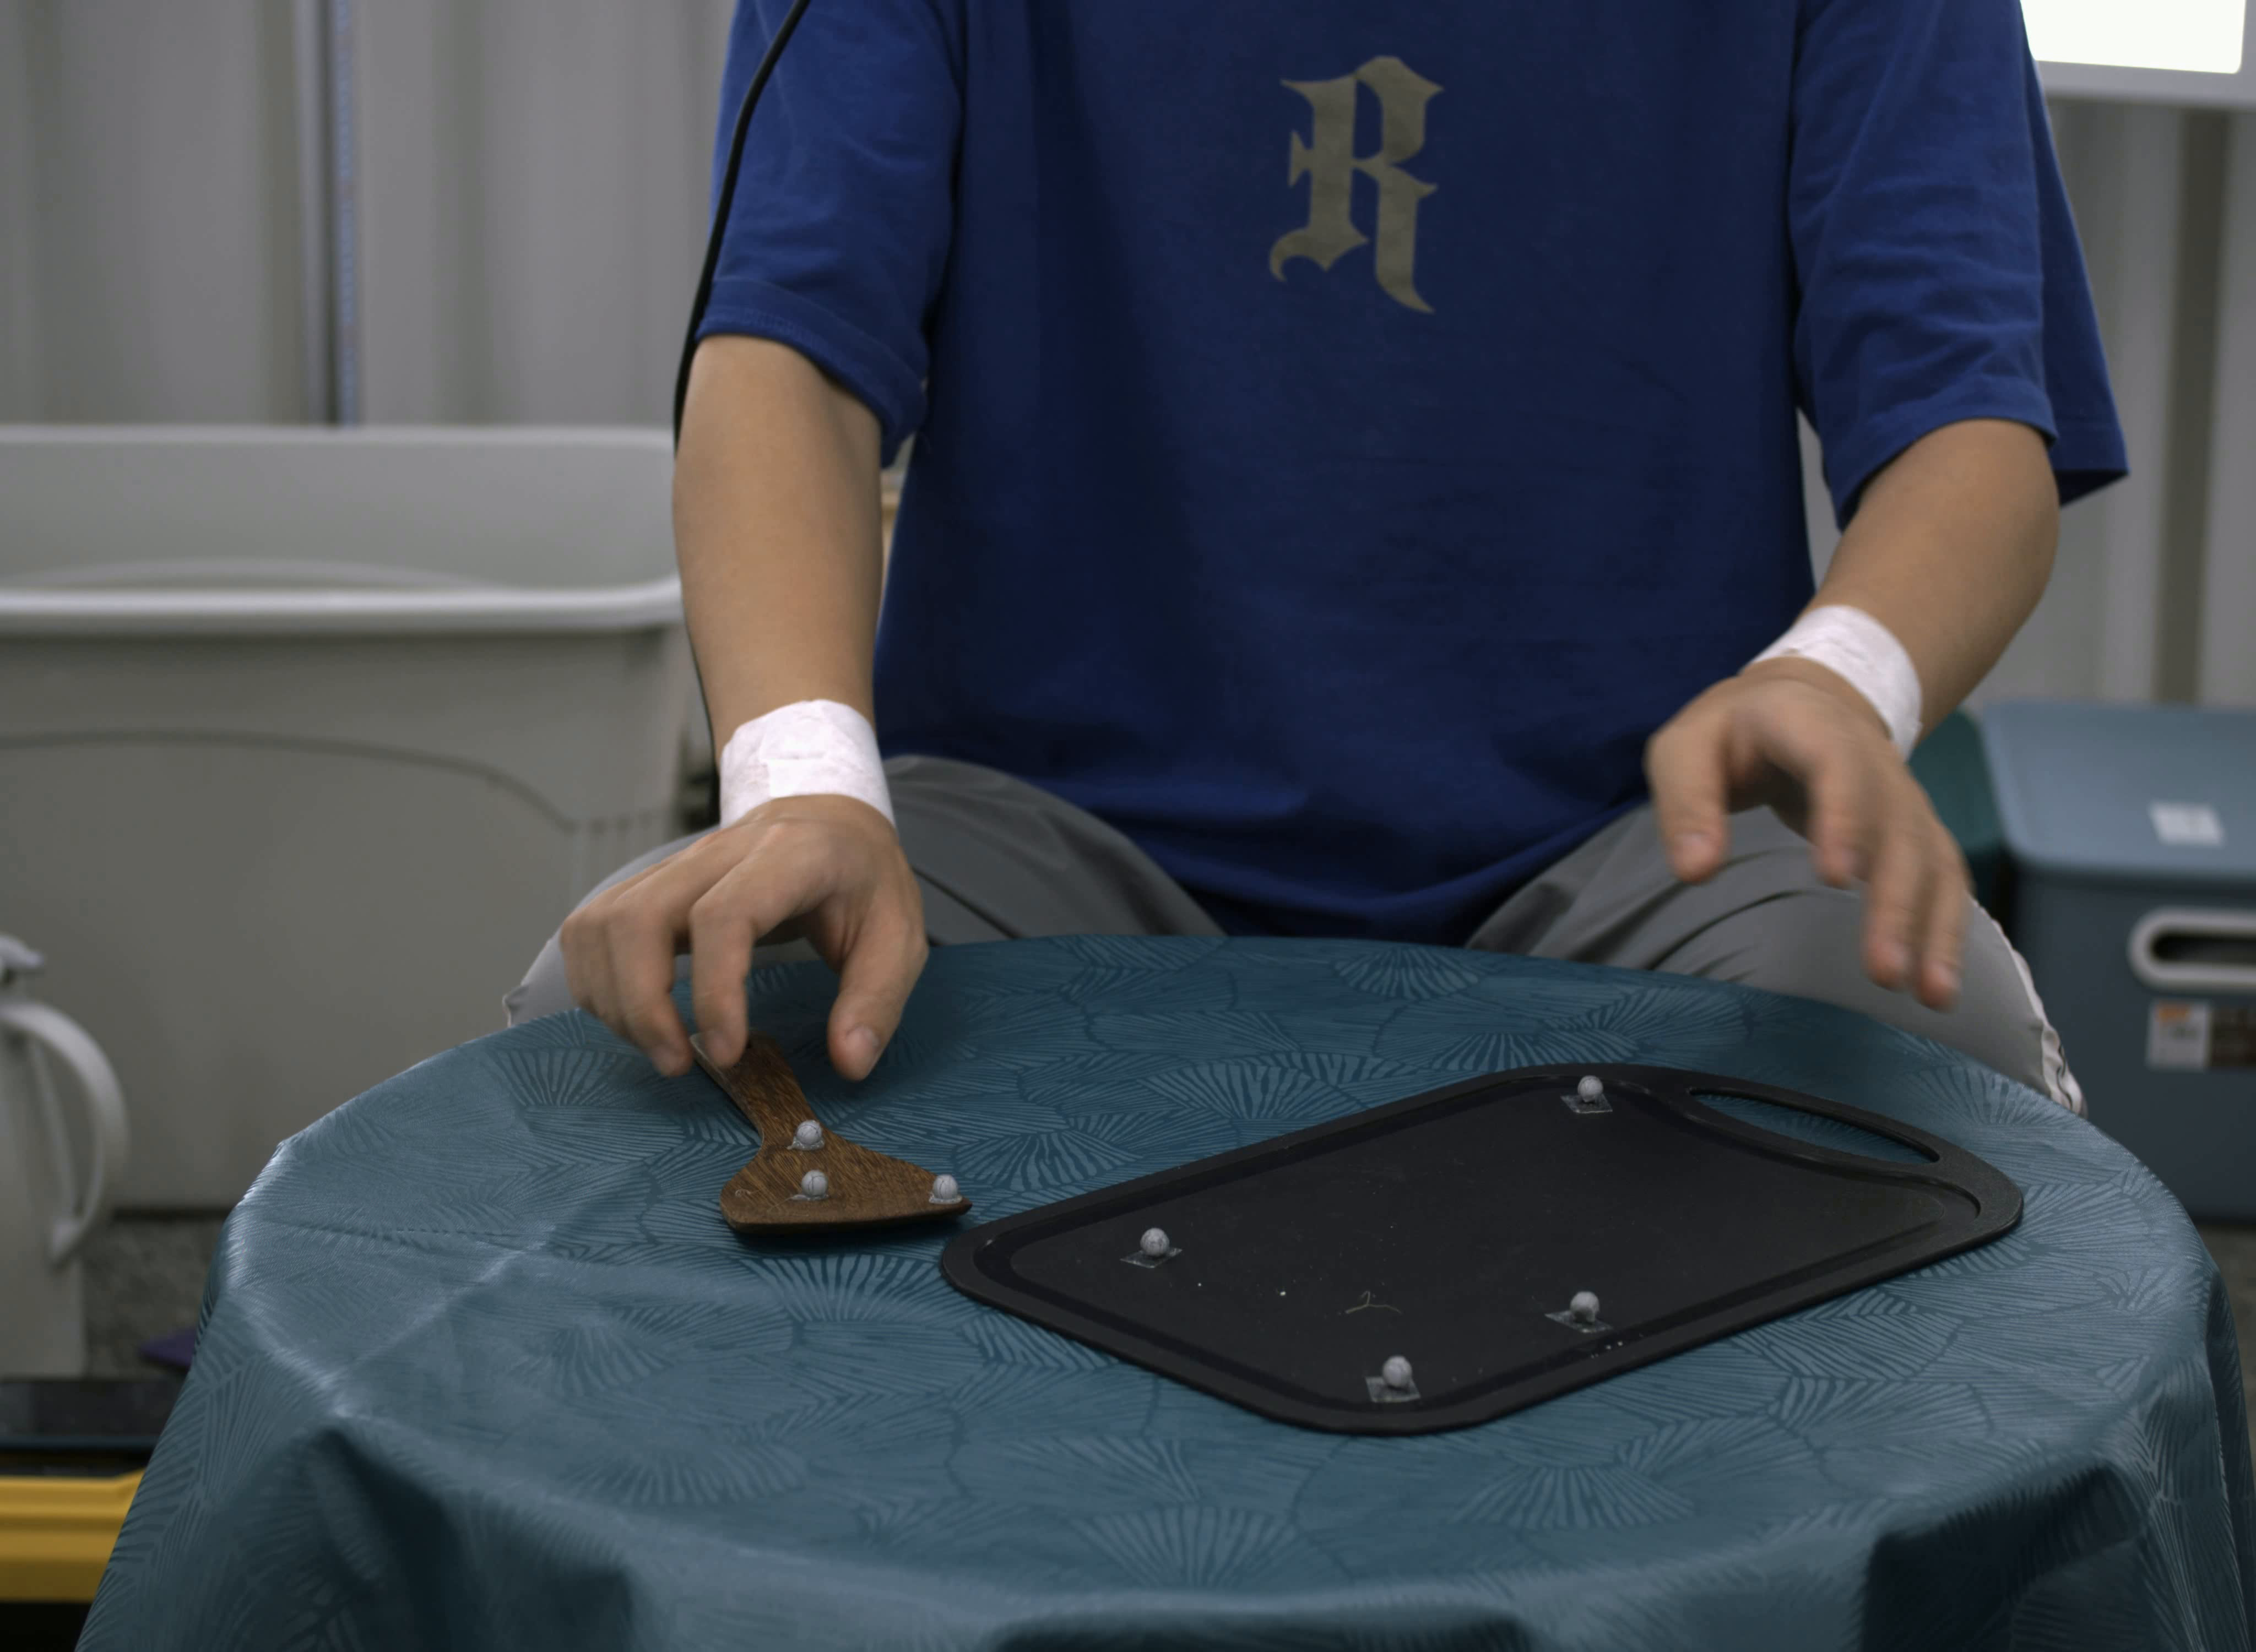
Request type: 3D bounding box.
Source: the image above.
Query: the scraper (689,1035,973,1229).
[{"bbox_3d":[-0.107,0.096,1.664,0.076,0.011,0.209,-2,14,-15],"label":"scraper"}]

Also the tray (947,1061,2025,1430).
[{"bbox_3d":[0.116,0.118,1.592,0.327,0.010,0.208,-13,20,-41],"label":"tray"}]
